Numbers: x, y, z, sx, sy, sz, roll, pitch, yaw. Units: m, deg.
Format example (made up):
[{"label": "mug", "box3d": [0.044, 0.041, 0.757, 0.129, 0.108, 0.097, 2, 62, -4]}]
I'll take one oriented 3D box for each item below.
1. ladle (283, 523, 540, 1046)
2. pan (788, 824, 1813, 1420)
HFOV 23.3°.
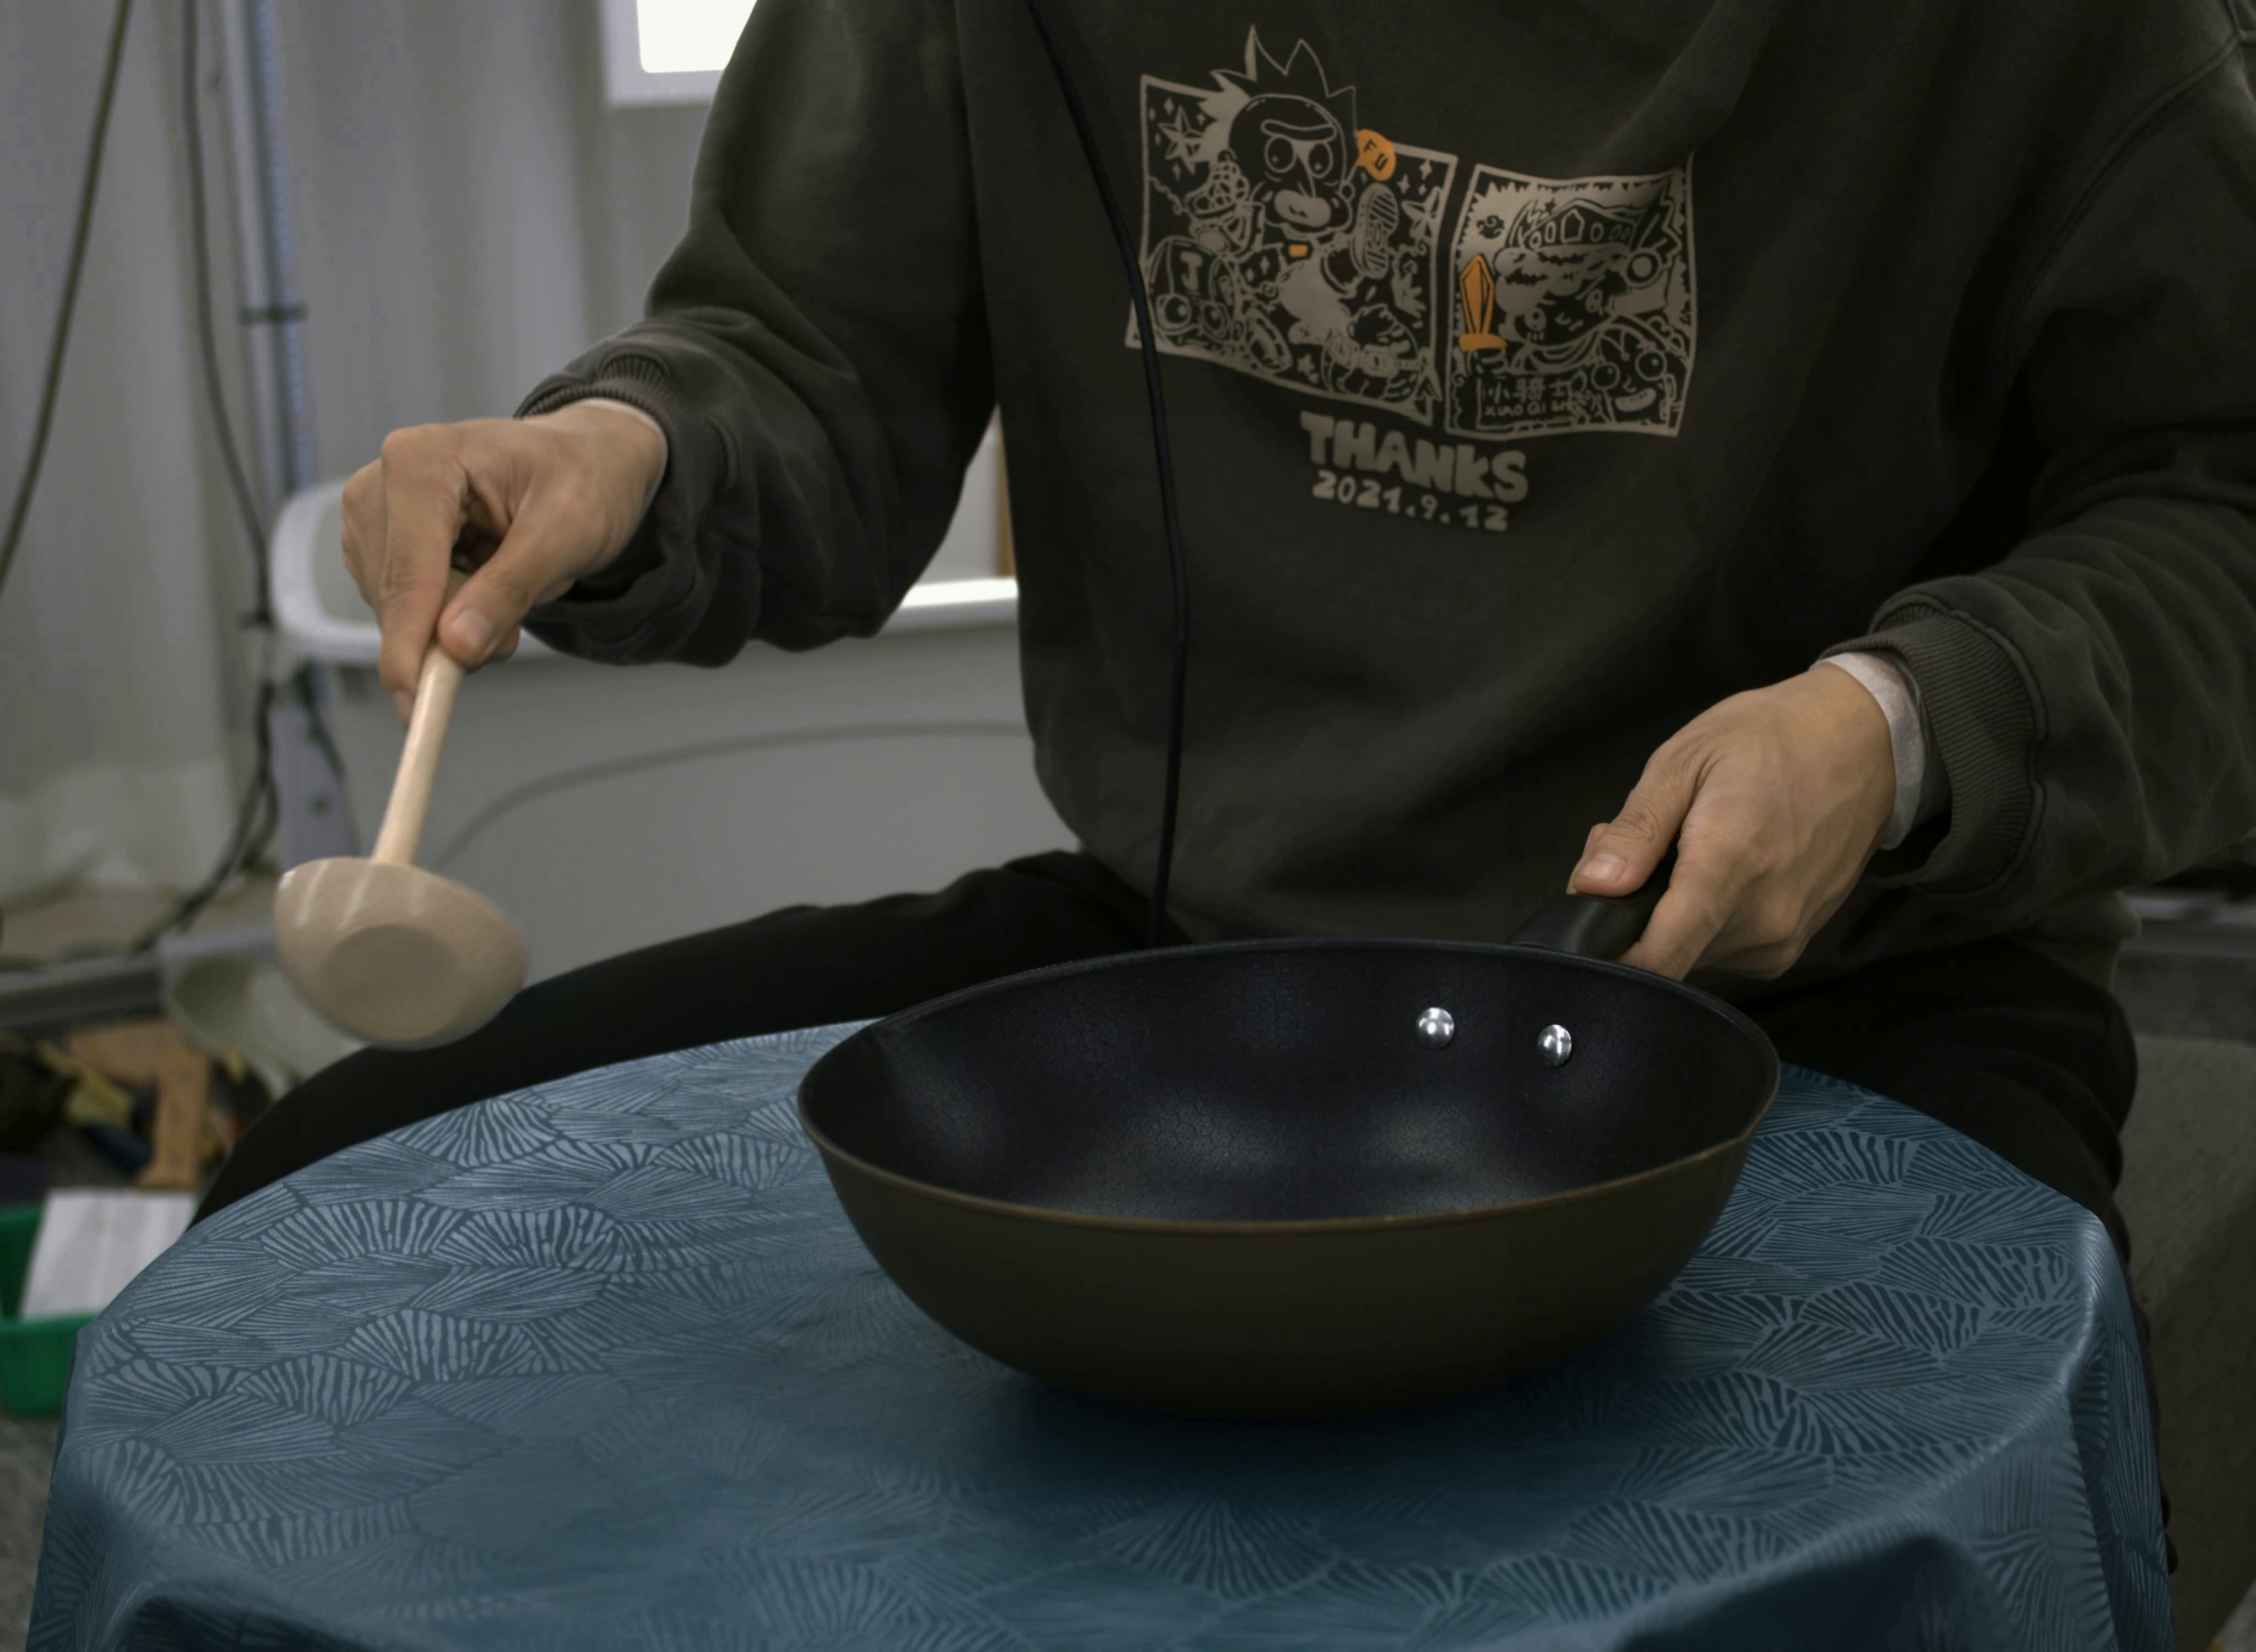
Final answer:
[{"label": "ladle", "box3d": [-0.200, -0.036, 1.611, 0.071, 0.072, 0.258, 18, 38, -15]}, {"label": "pan", "box3d": [0.092, 0.086, 1.653, 0.289, 0.086, 0.463, 6, 16, 31]}]
